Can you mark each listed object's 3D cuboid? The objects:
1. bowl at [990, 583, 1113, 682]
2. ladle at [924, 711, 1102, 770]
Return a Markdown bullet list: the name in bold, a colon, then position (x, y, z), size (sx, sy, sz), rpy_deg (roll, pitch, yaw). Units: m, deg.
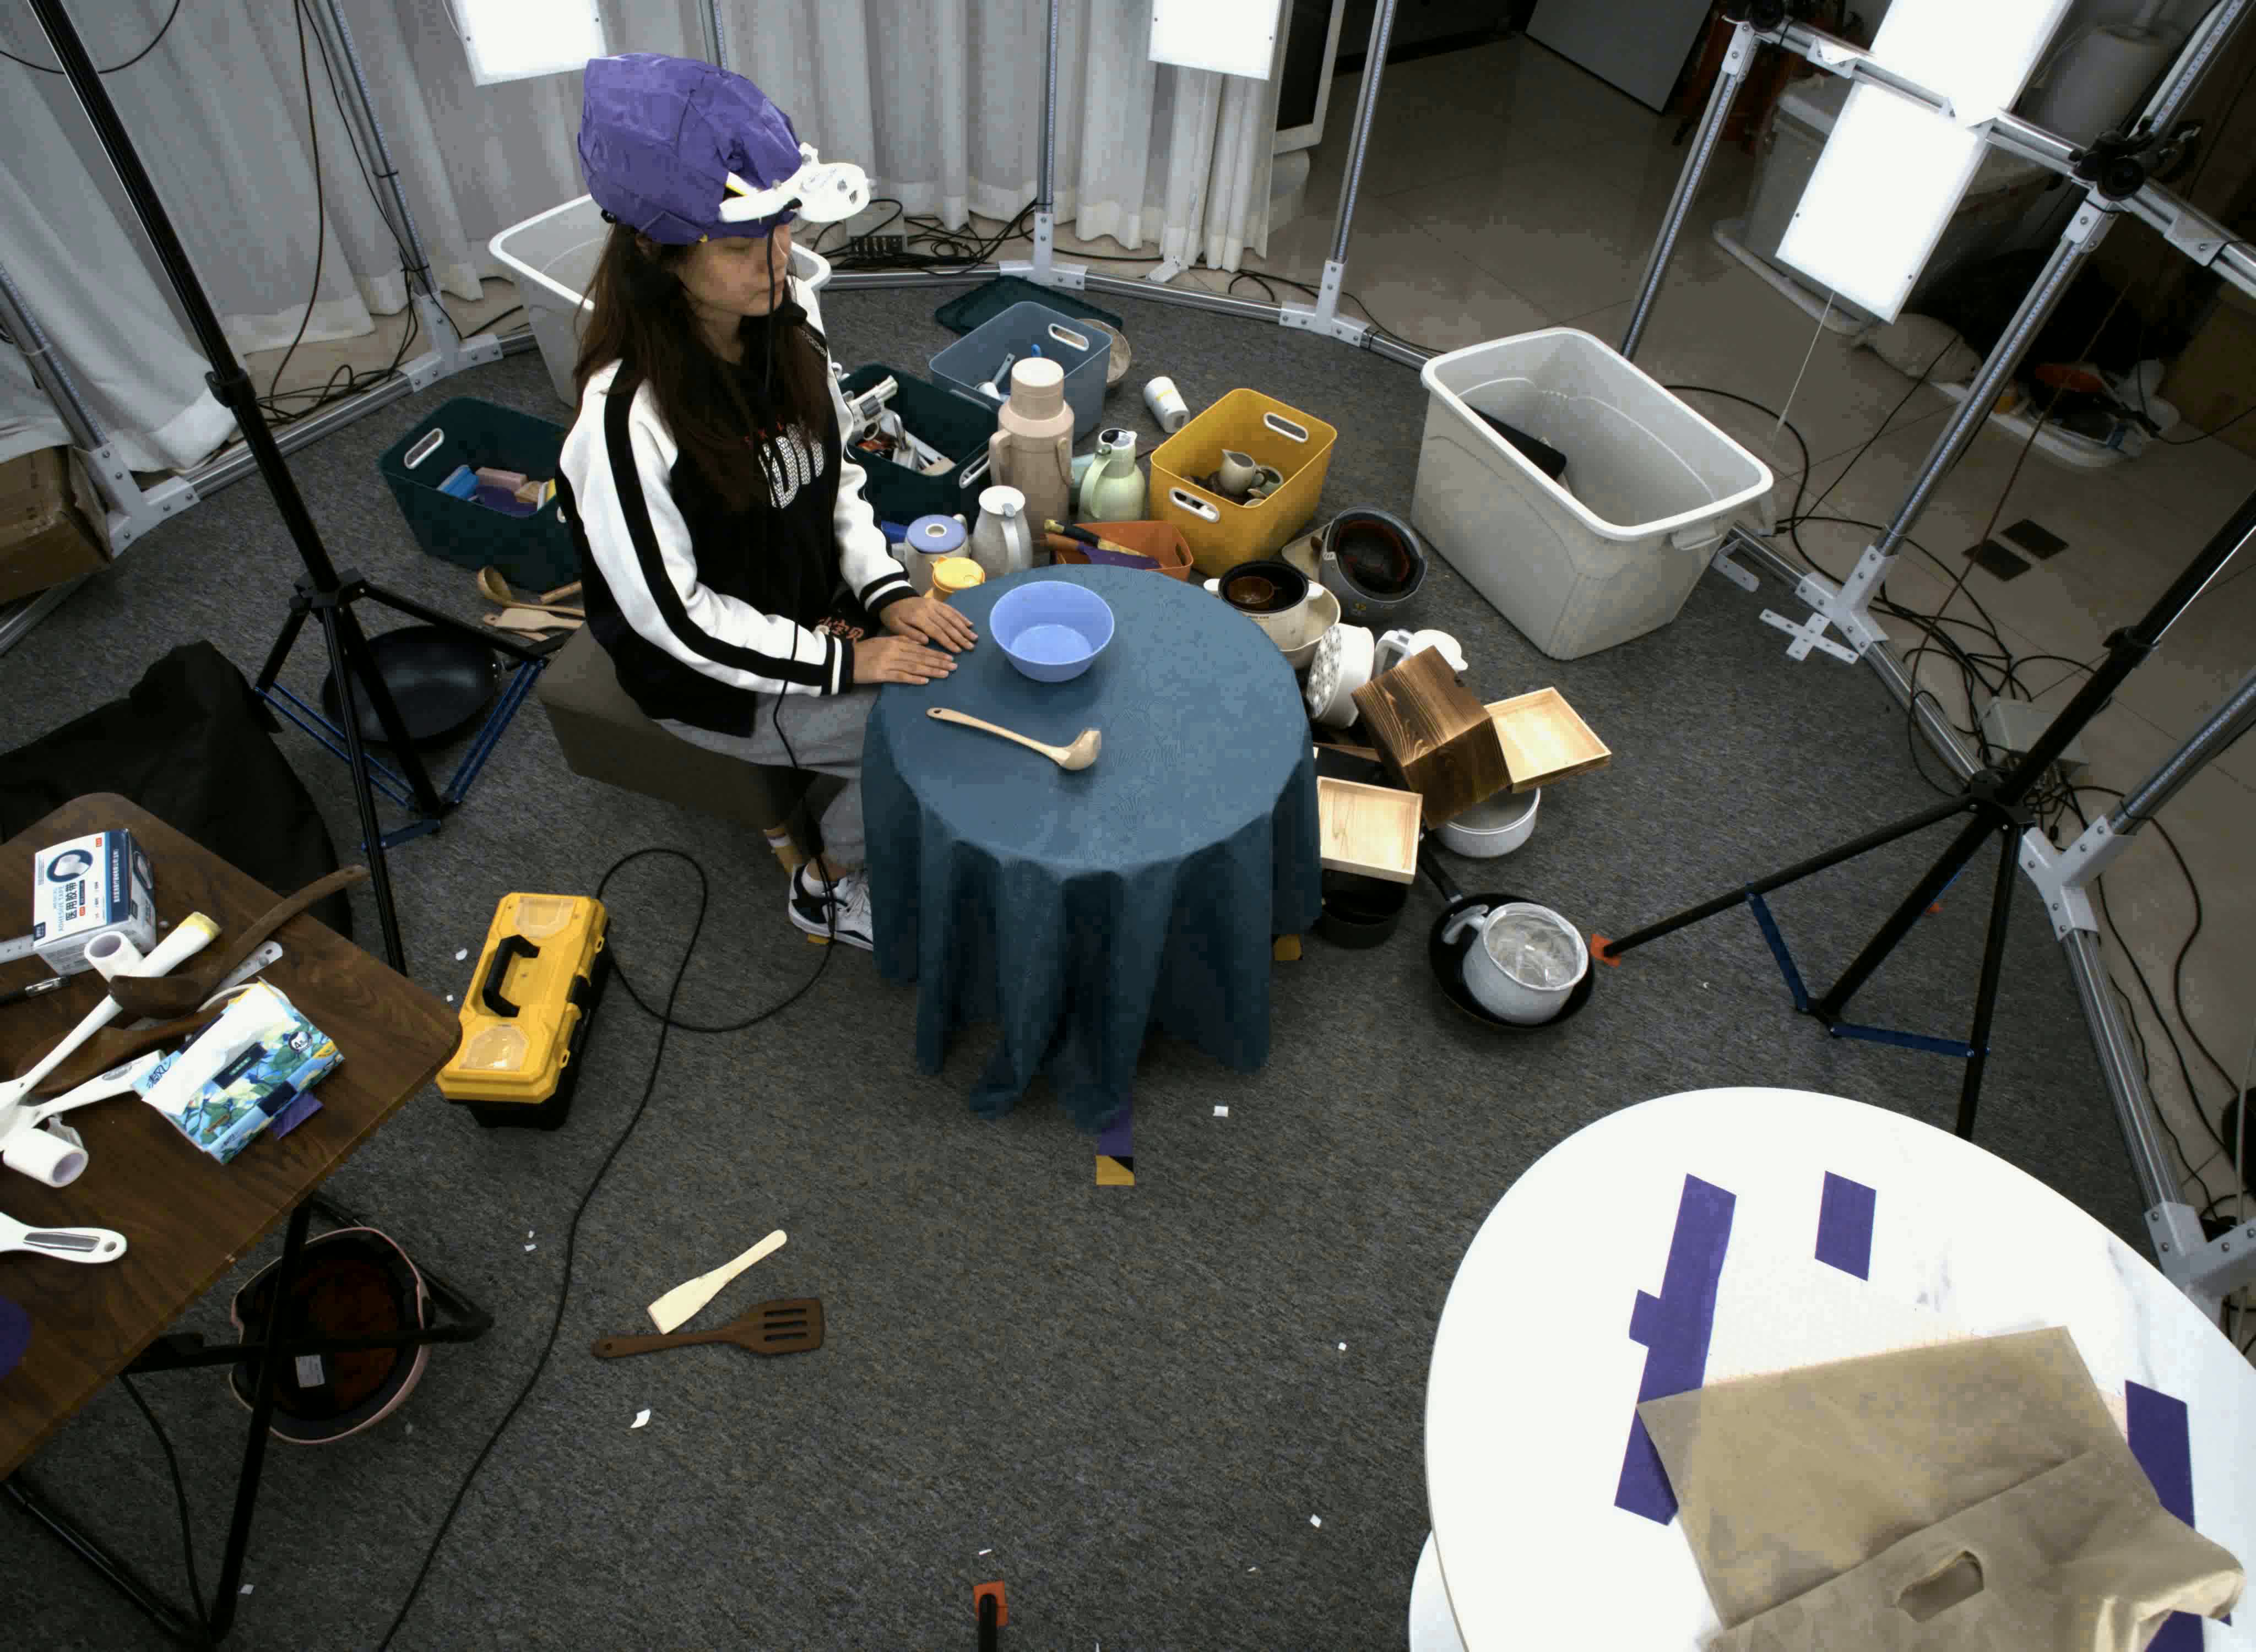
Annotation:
- **bowl**: position (-0.110, -0.269, 1.851), size (0.176, 0.068, 0.180), rpy_deg (2, 48, -3)
- **ladle**: position (-0.160, -0.139, 1.733), size (0.255, 0.071, 0.073), rpy_deg (18, 50, 11)
